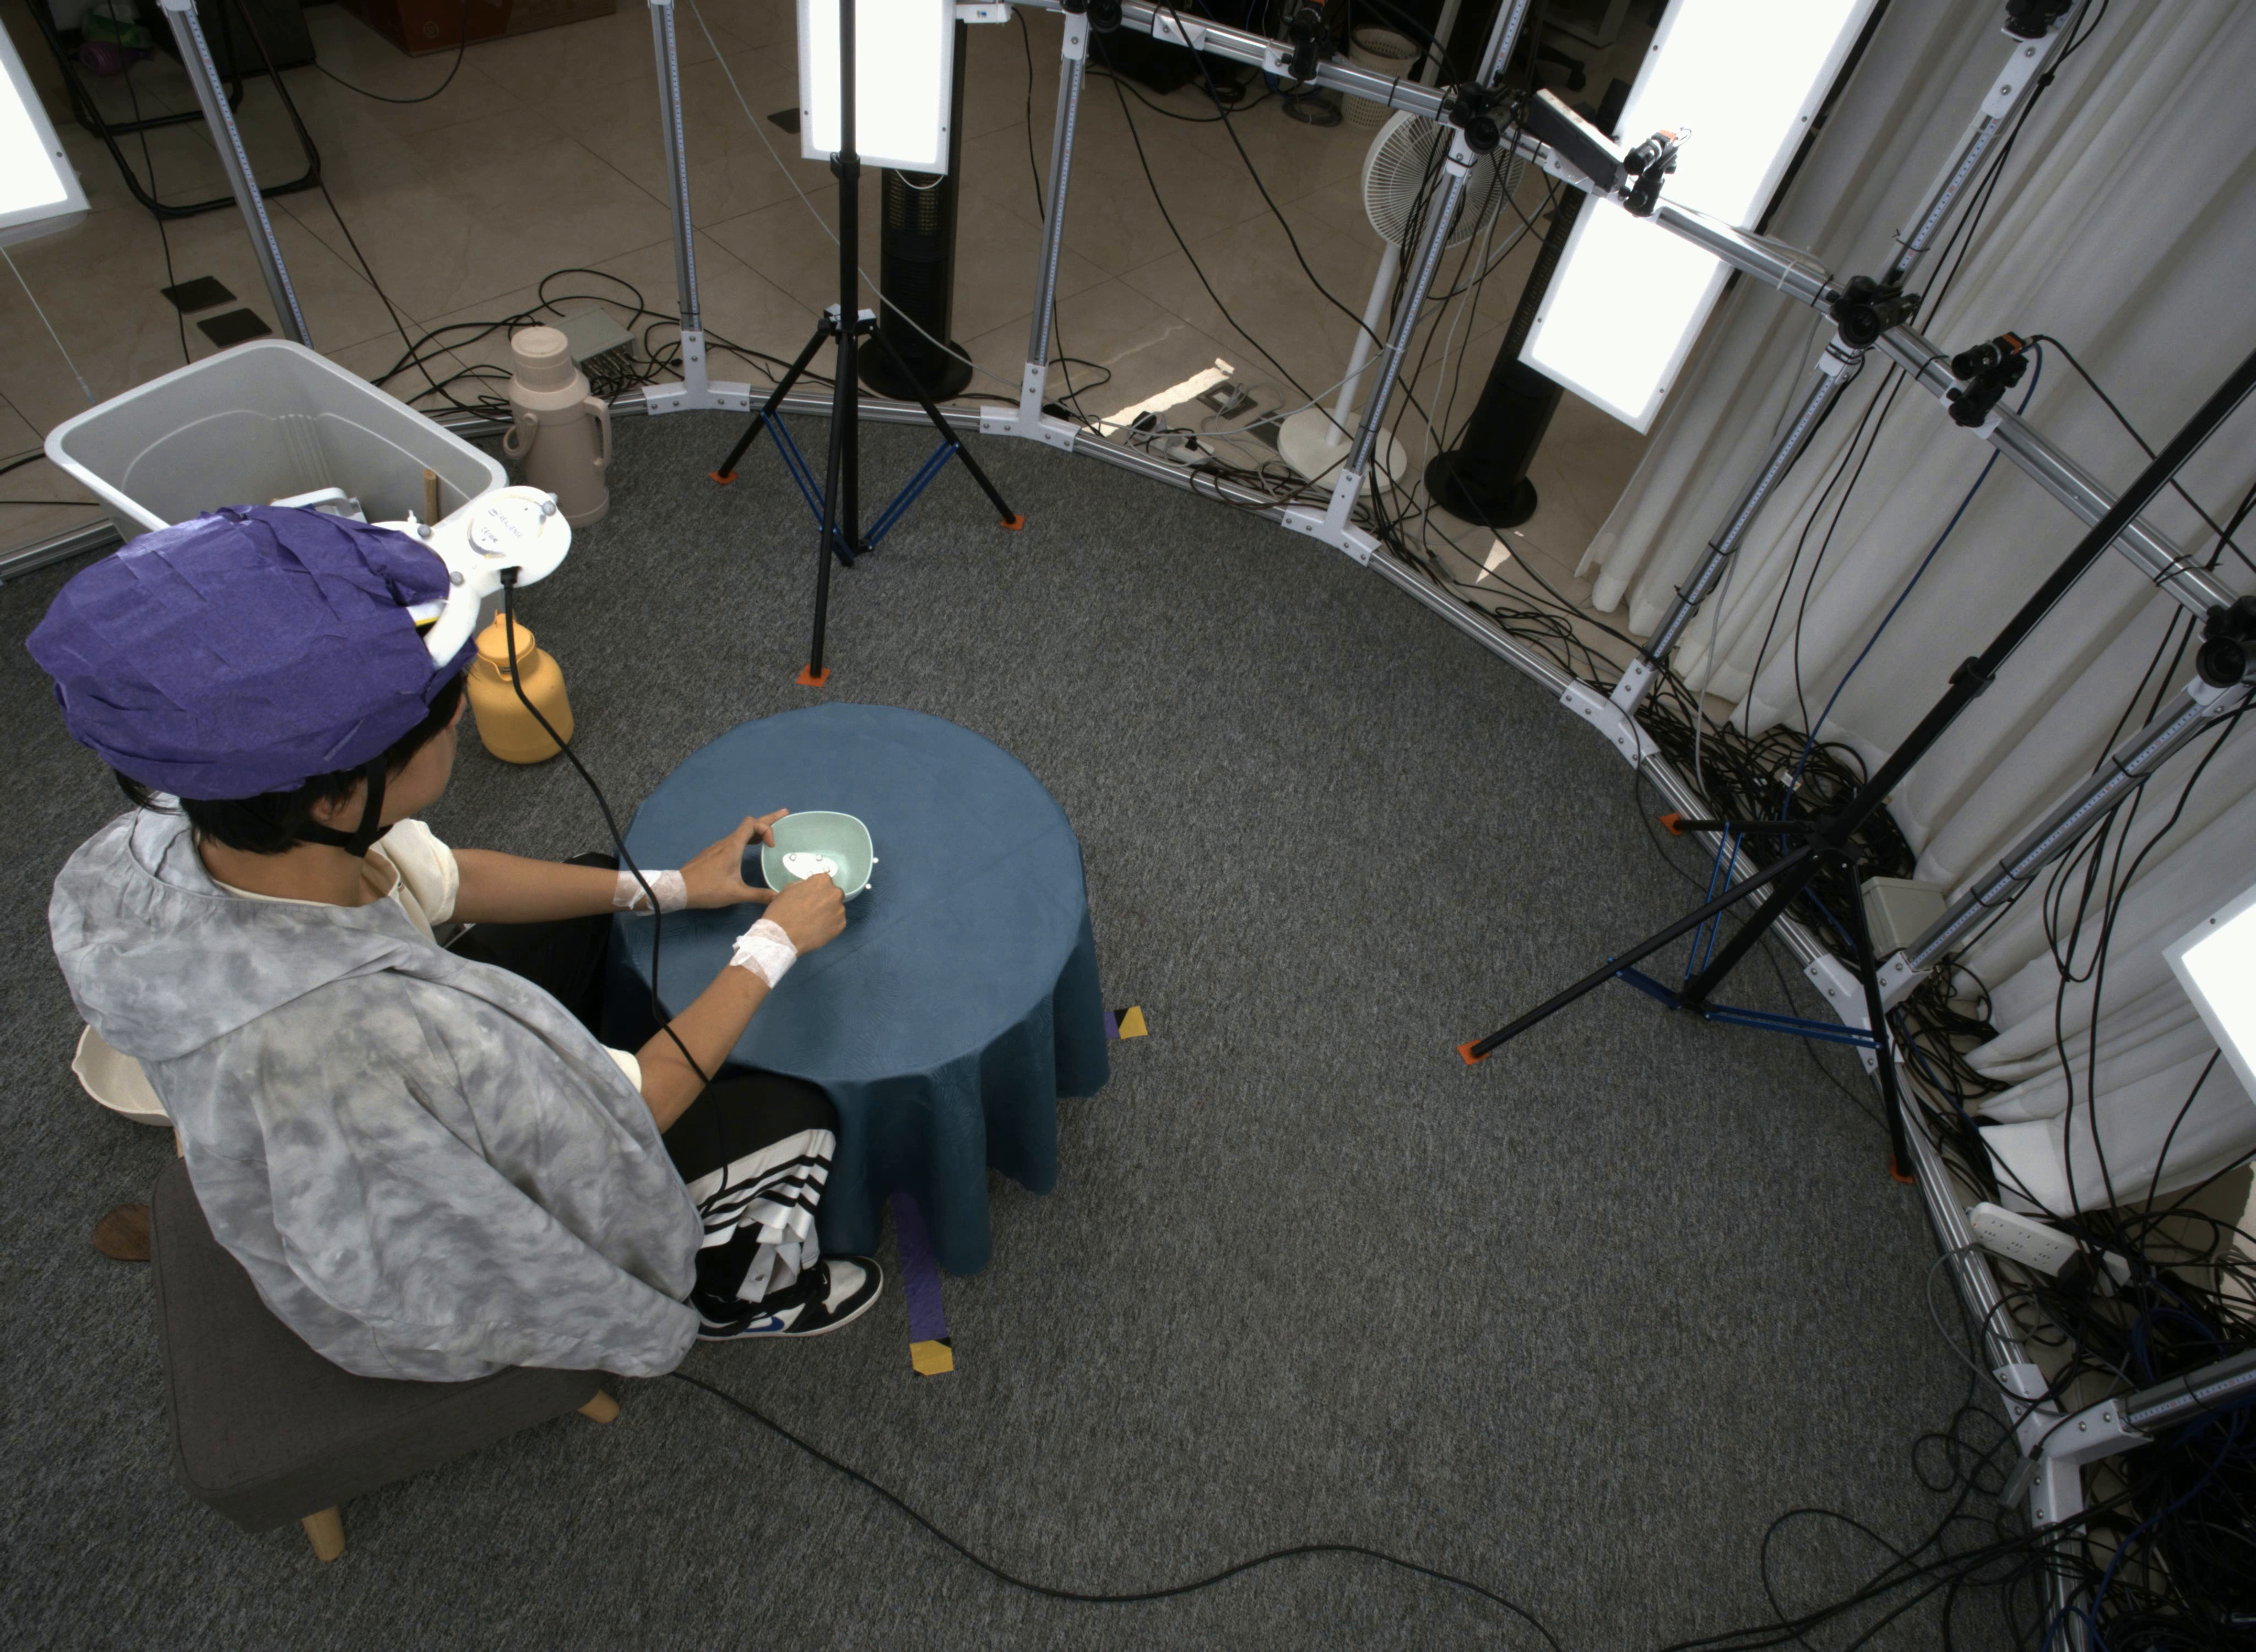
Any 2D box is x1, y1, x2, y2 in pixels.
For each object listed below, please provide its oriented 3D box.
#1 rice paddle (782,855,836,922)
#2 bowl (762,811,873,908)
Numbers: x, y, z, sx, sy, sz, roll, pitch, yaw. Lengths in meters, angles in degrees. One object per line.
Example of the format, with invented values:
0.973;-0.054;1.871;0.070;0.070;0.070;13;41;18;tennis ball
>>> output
-0.388;0.065;1.581;0.069;0.030;0.199;11;14;-18;rice paddle
-0.396;0.052;1.659;0.151;0.060;0.149;9;53;-10;bowl
